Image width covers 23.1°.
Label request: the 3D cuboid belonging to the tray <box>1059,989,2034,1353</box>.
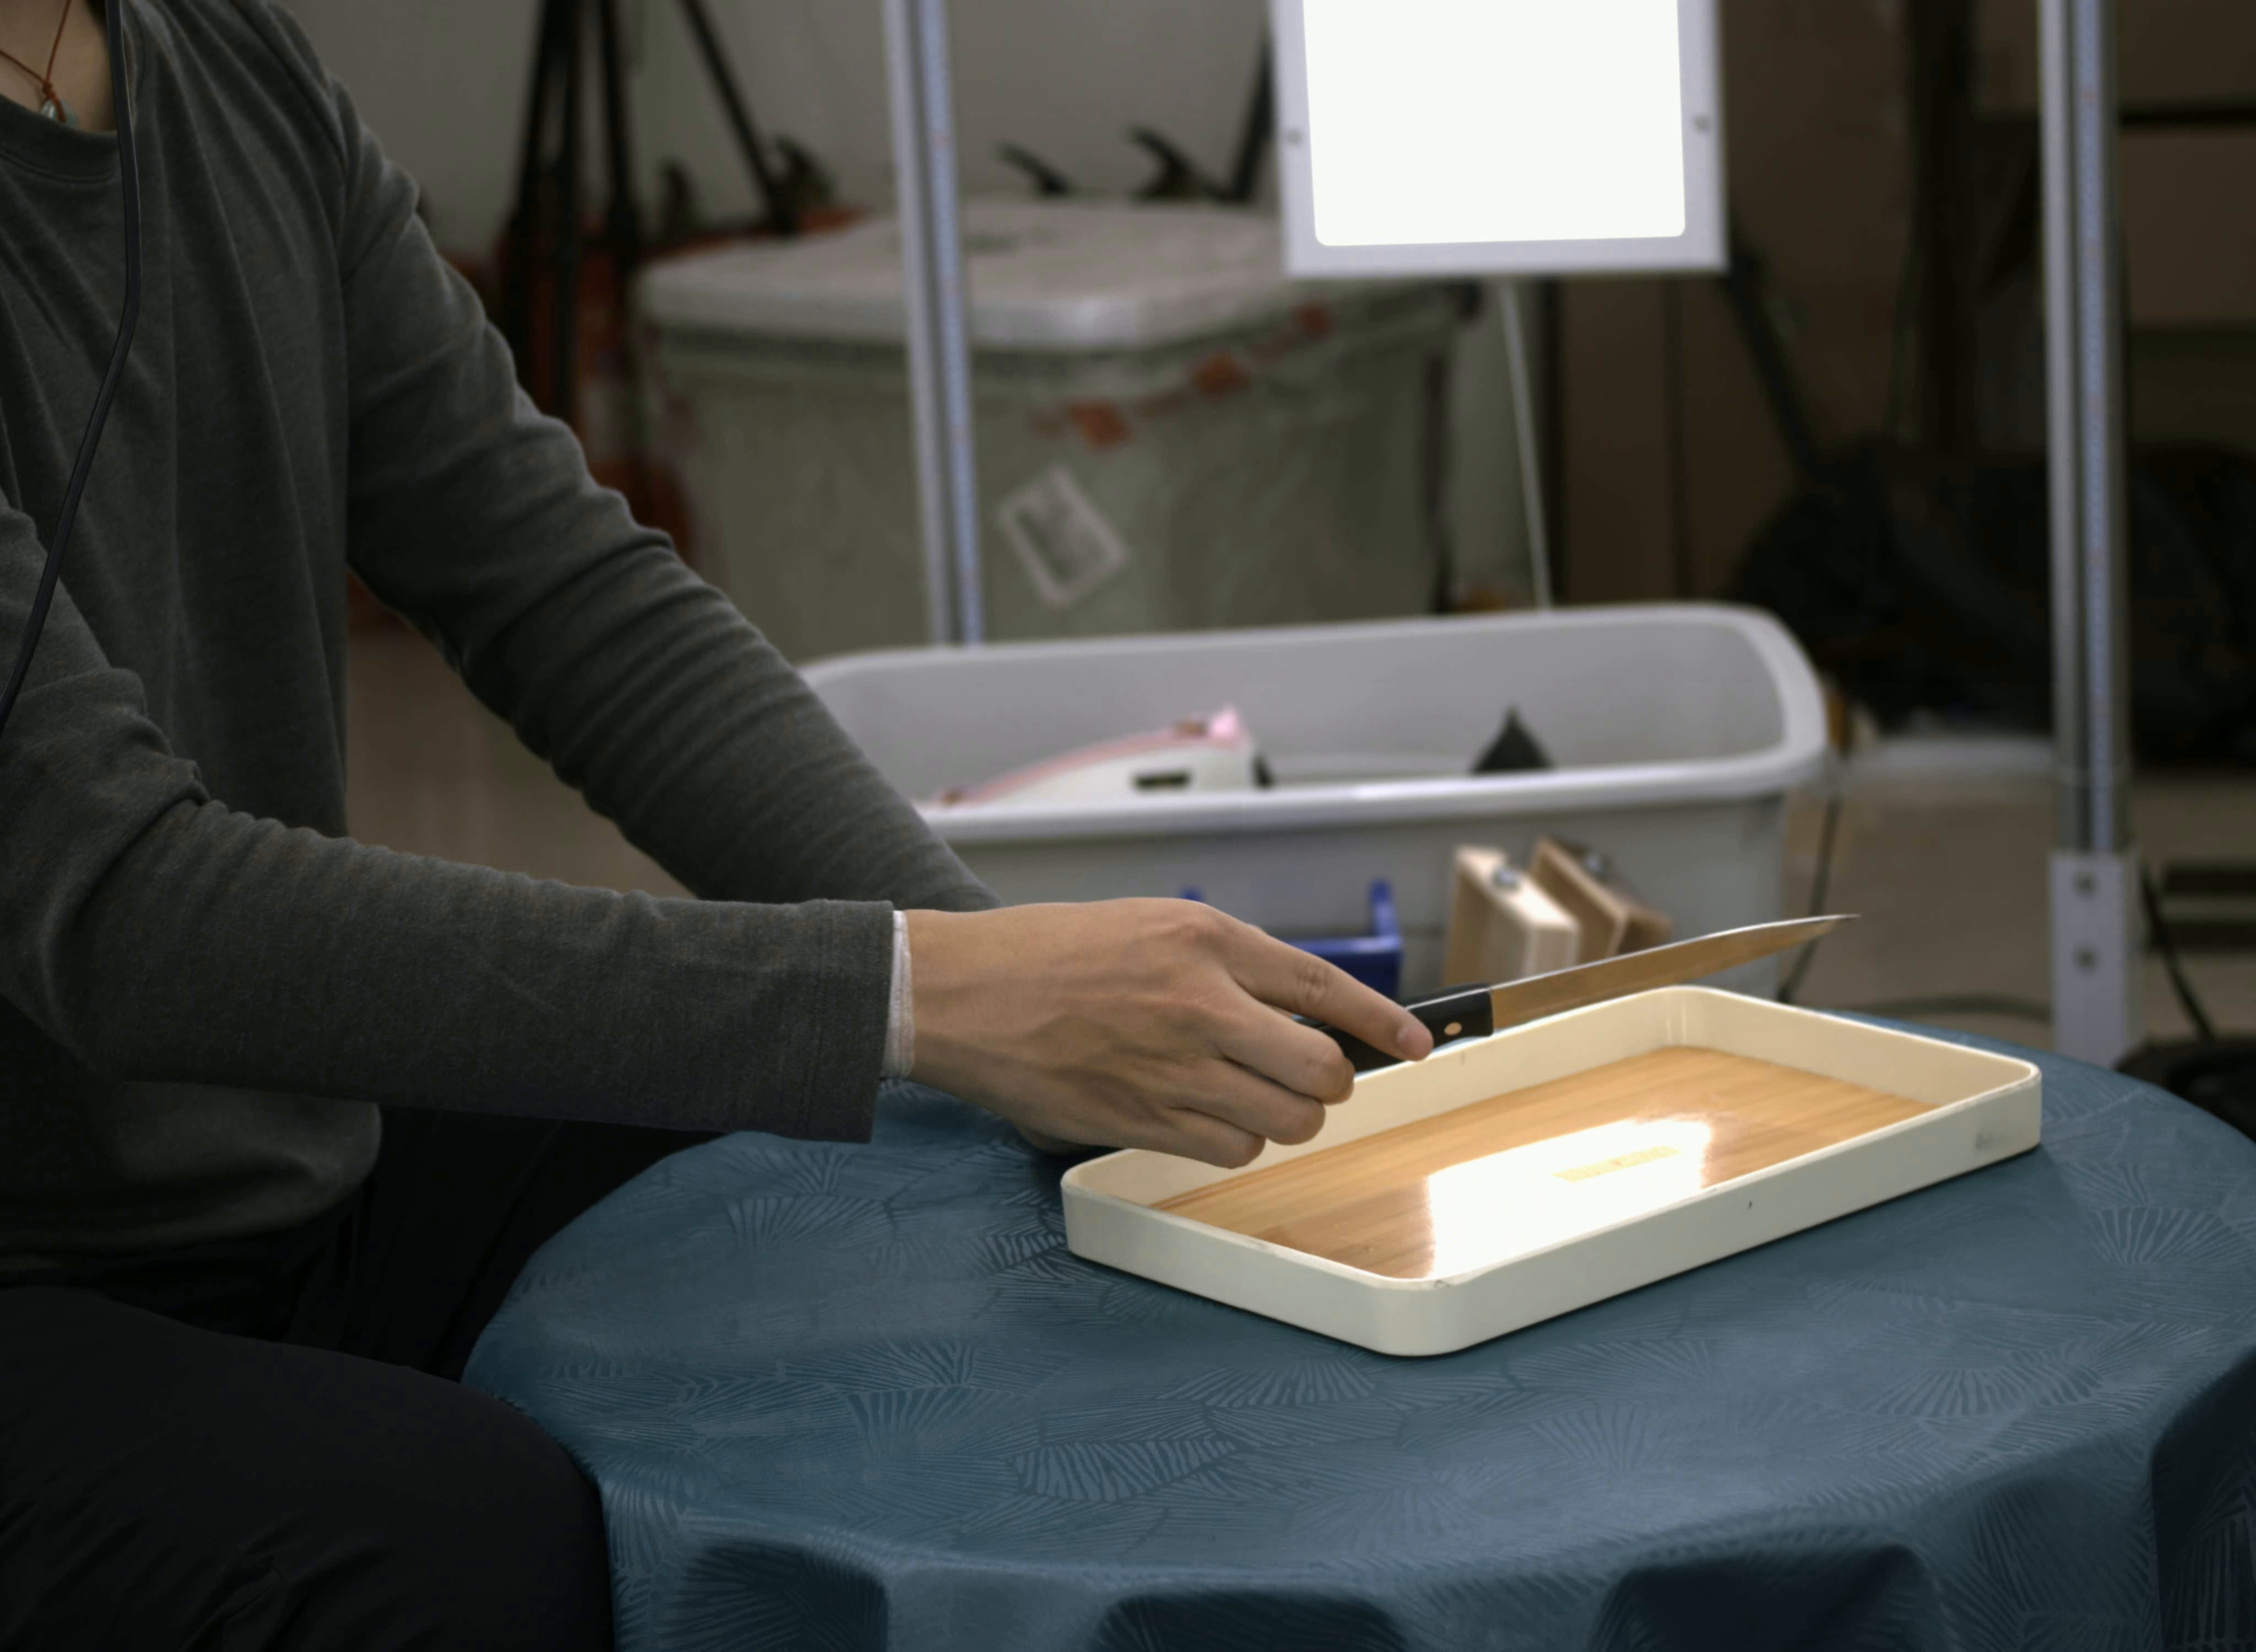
[{"bbox_3d":[0.145,0.112,1.854,0.293,0.027,0.195,-15,16,-34],"label":"tray"}]

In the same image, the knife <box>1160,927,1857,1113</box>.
[{"bbox_3d":[0.126,0.059,1.802,0.237,0.024,0.016,-13,46,-1],"label":"knife"}]
